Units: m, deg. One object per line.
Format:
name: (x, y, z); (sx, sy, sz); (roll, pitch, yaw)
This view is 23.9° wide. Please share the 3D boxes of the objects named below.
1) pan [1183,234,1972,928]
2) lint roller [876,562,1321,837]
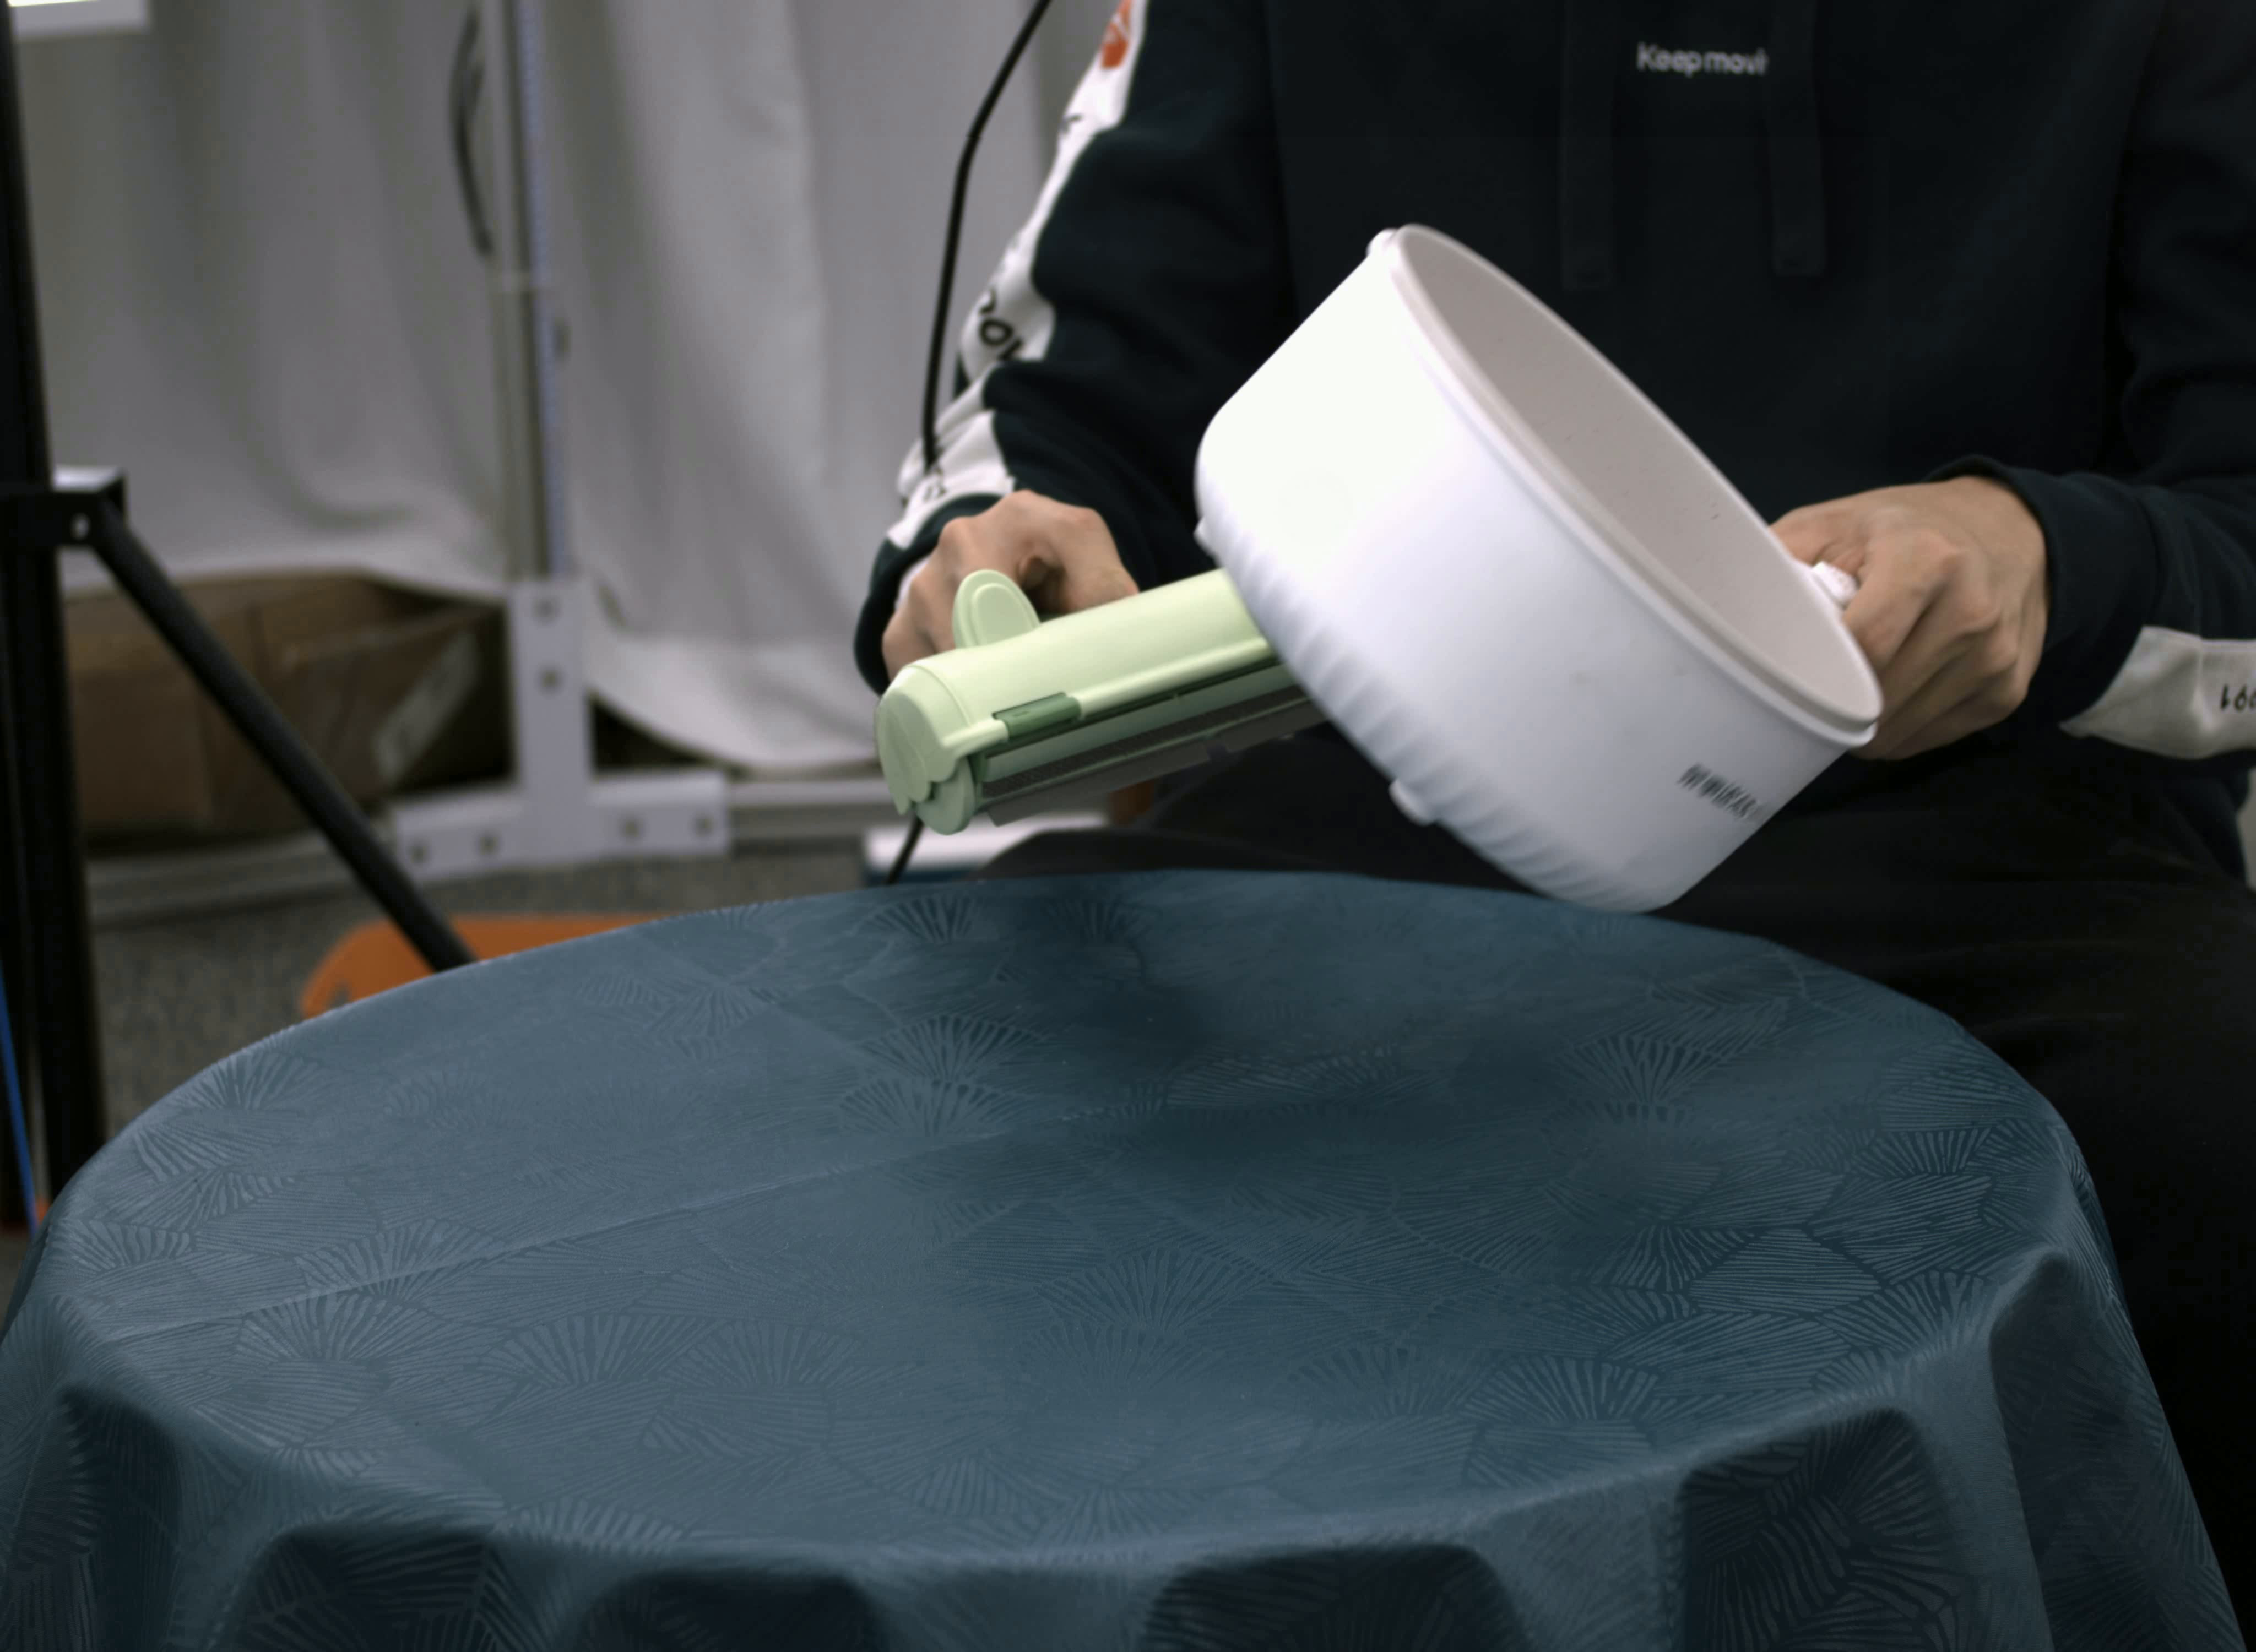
pan: (0.145, -0.049, 1.582); (0.205, 0.102, 0.346); (53, 17, 28)
lint roller: (-0.013, -0.067, 1.713); (0.195, 0.082, 0.187); (-19, 21, -25)
